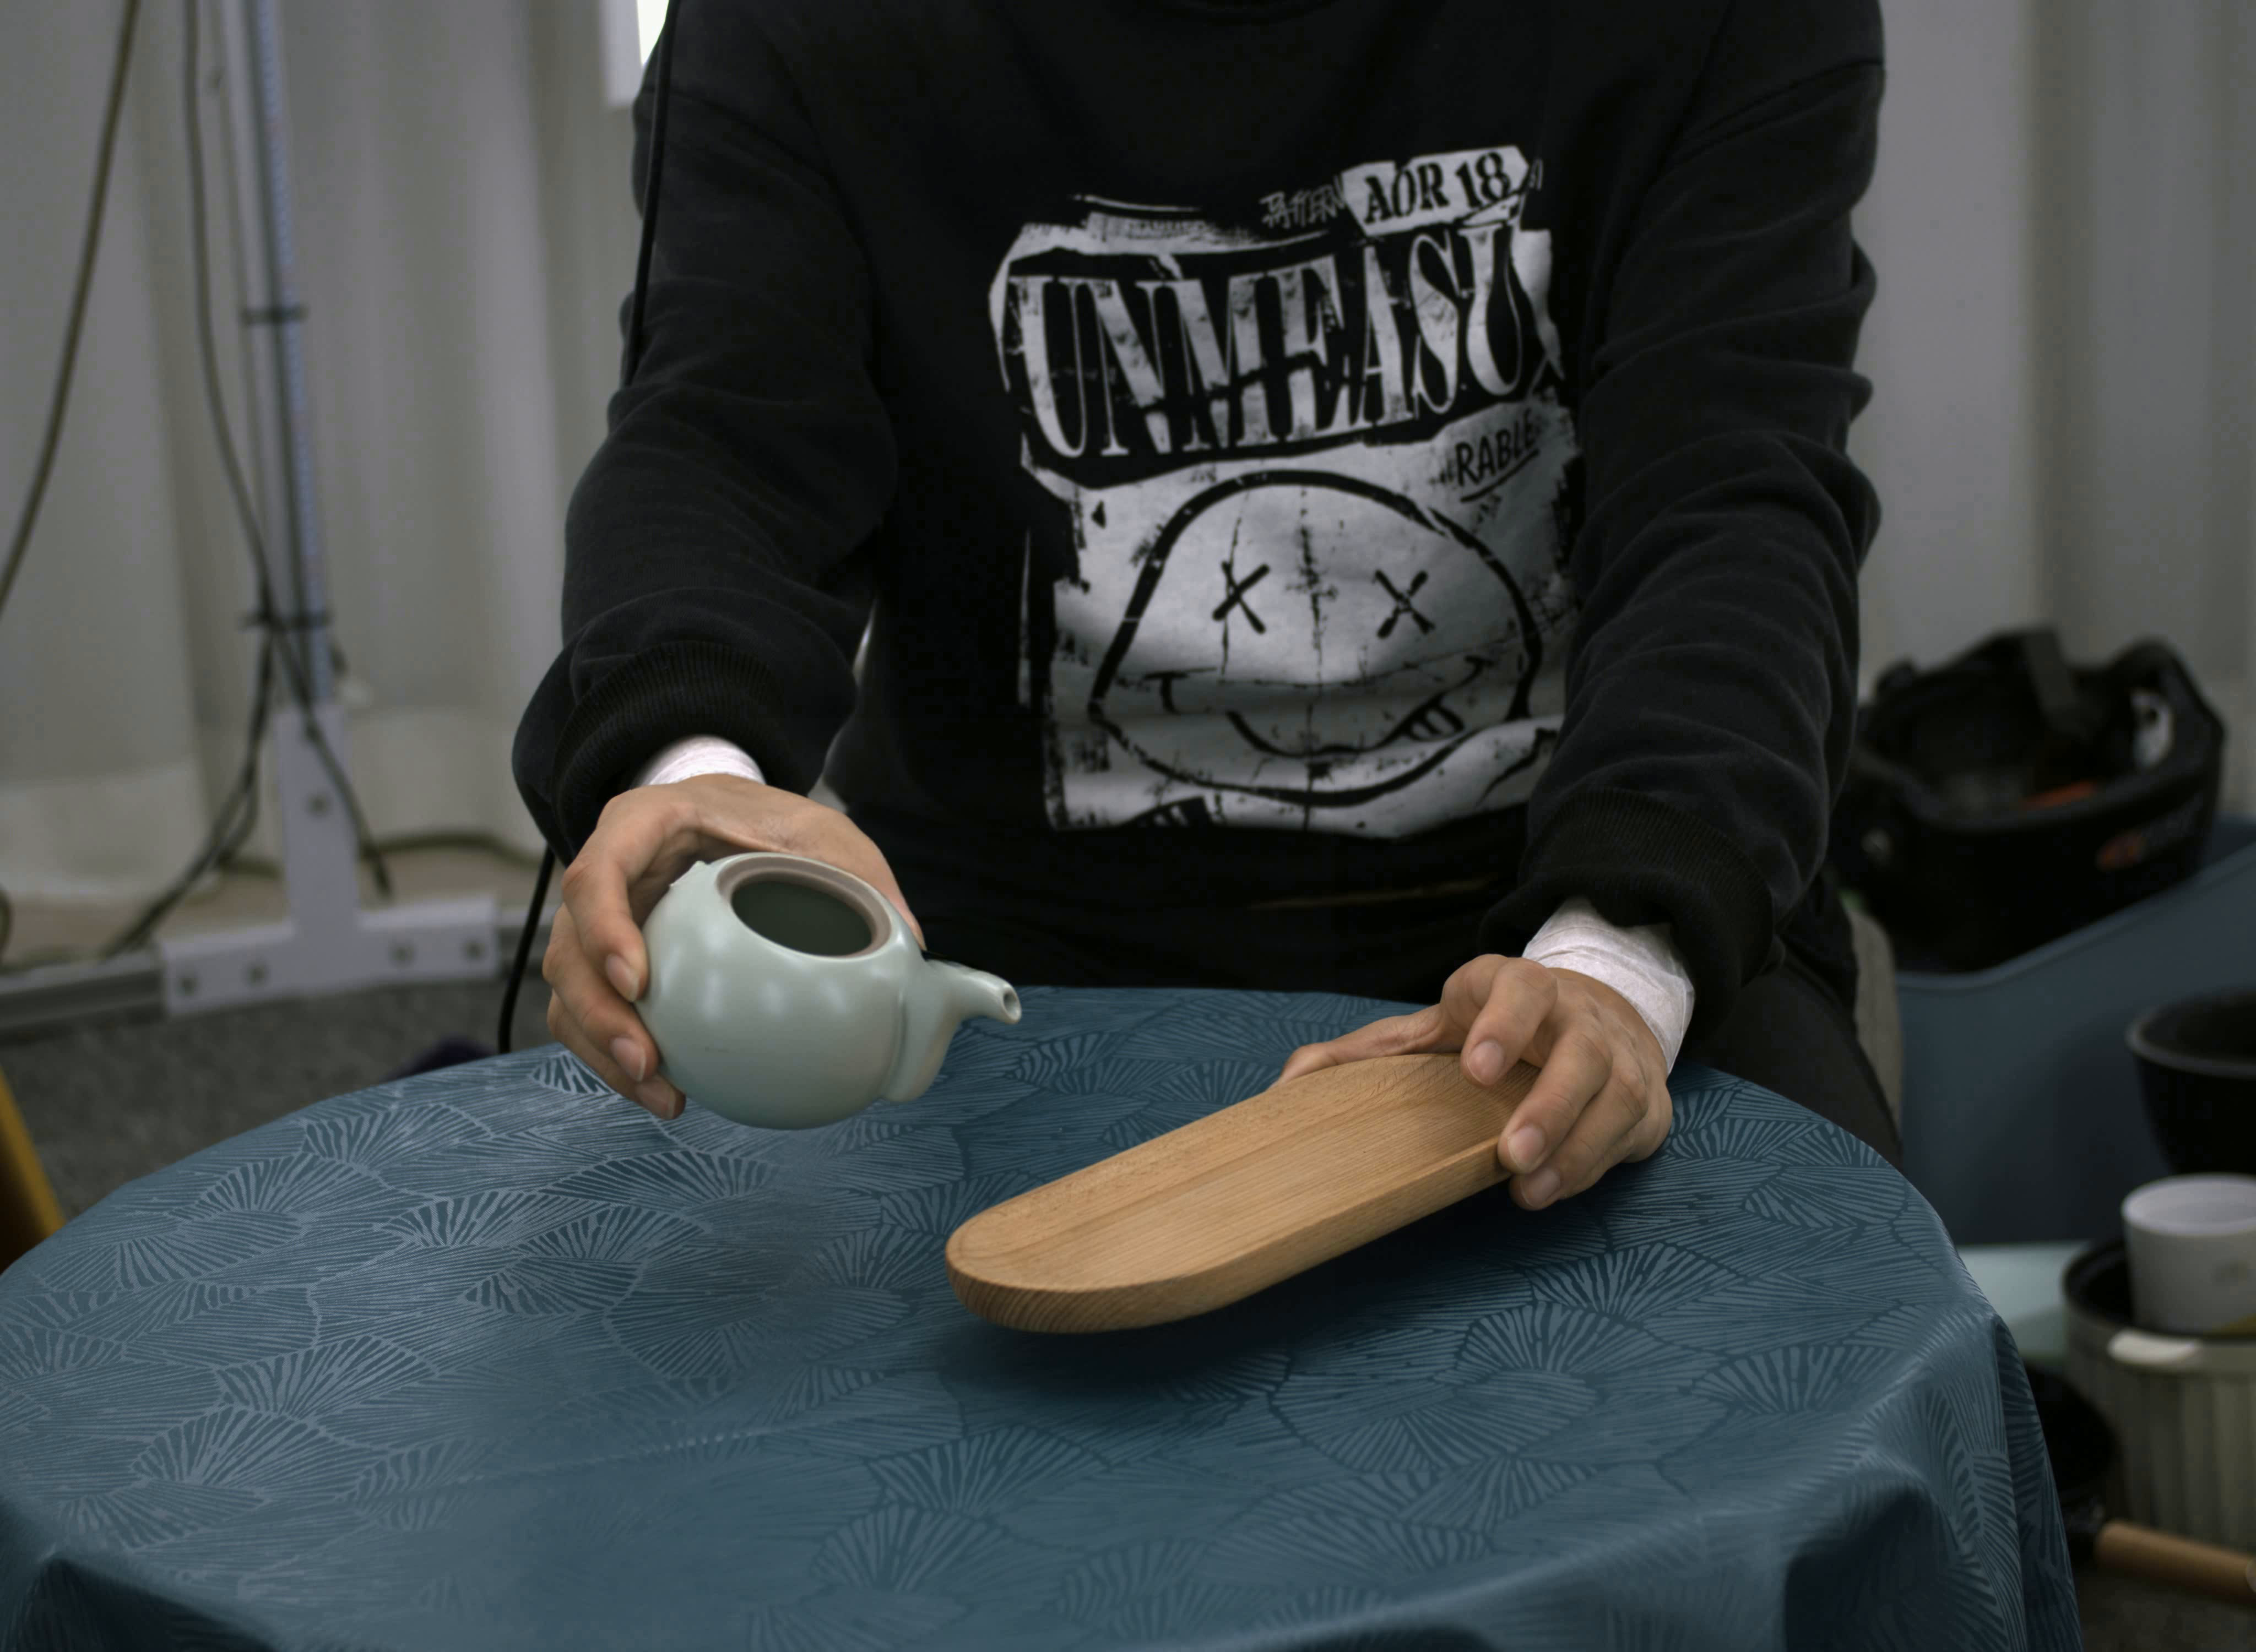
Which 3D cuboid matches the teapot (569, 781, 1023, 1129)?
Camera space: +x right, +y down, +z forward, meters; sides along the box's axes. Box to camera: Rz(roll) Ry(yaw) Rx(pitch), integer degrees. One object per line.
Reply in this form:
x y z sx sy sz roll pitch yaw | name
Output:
-0.104 0.047 1.611 0.144 0.074 0.089 29 28 12 | teapot

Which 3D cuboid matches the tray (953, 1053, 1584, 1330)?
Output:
0.044 0.107 1.621 0.102 0.020 0.231 9 19 42 | tray
